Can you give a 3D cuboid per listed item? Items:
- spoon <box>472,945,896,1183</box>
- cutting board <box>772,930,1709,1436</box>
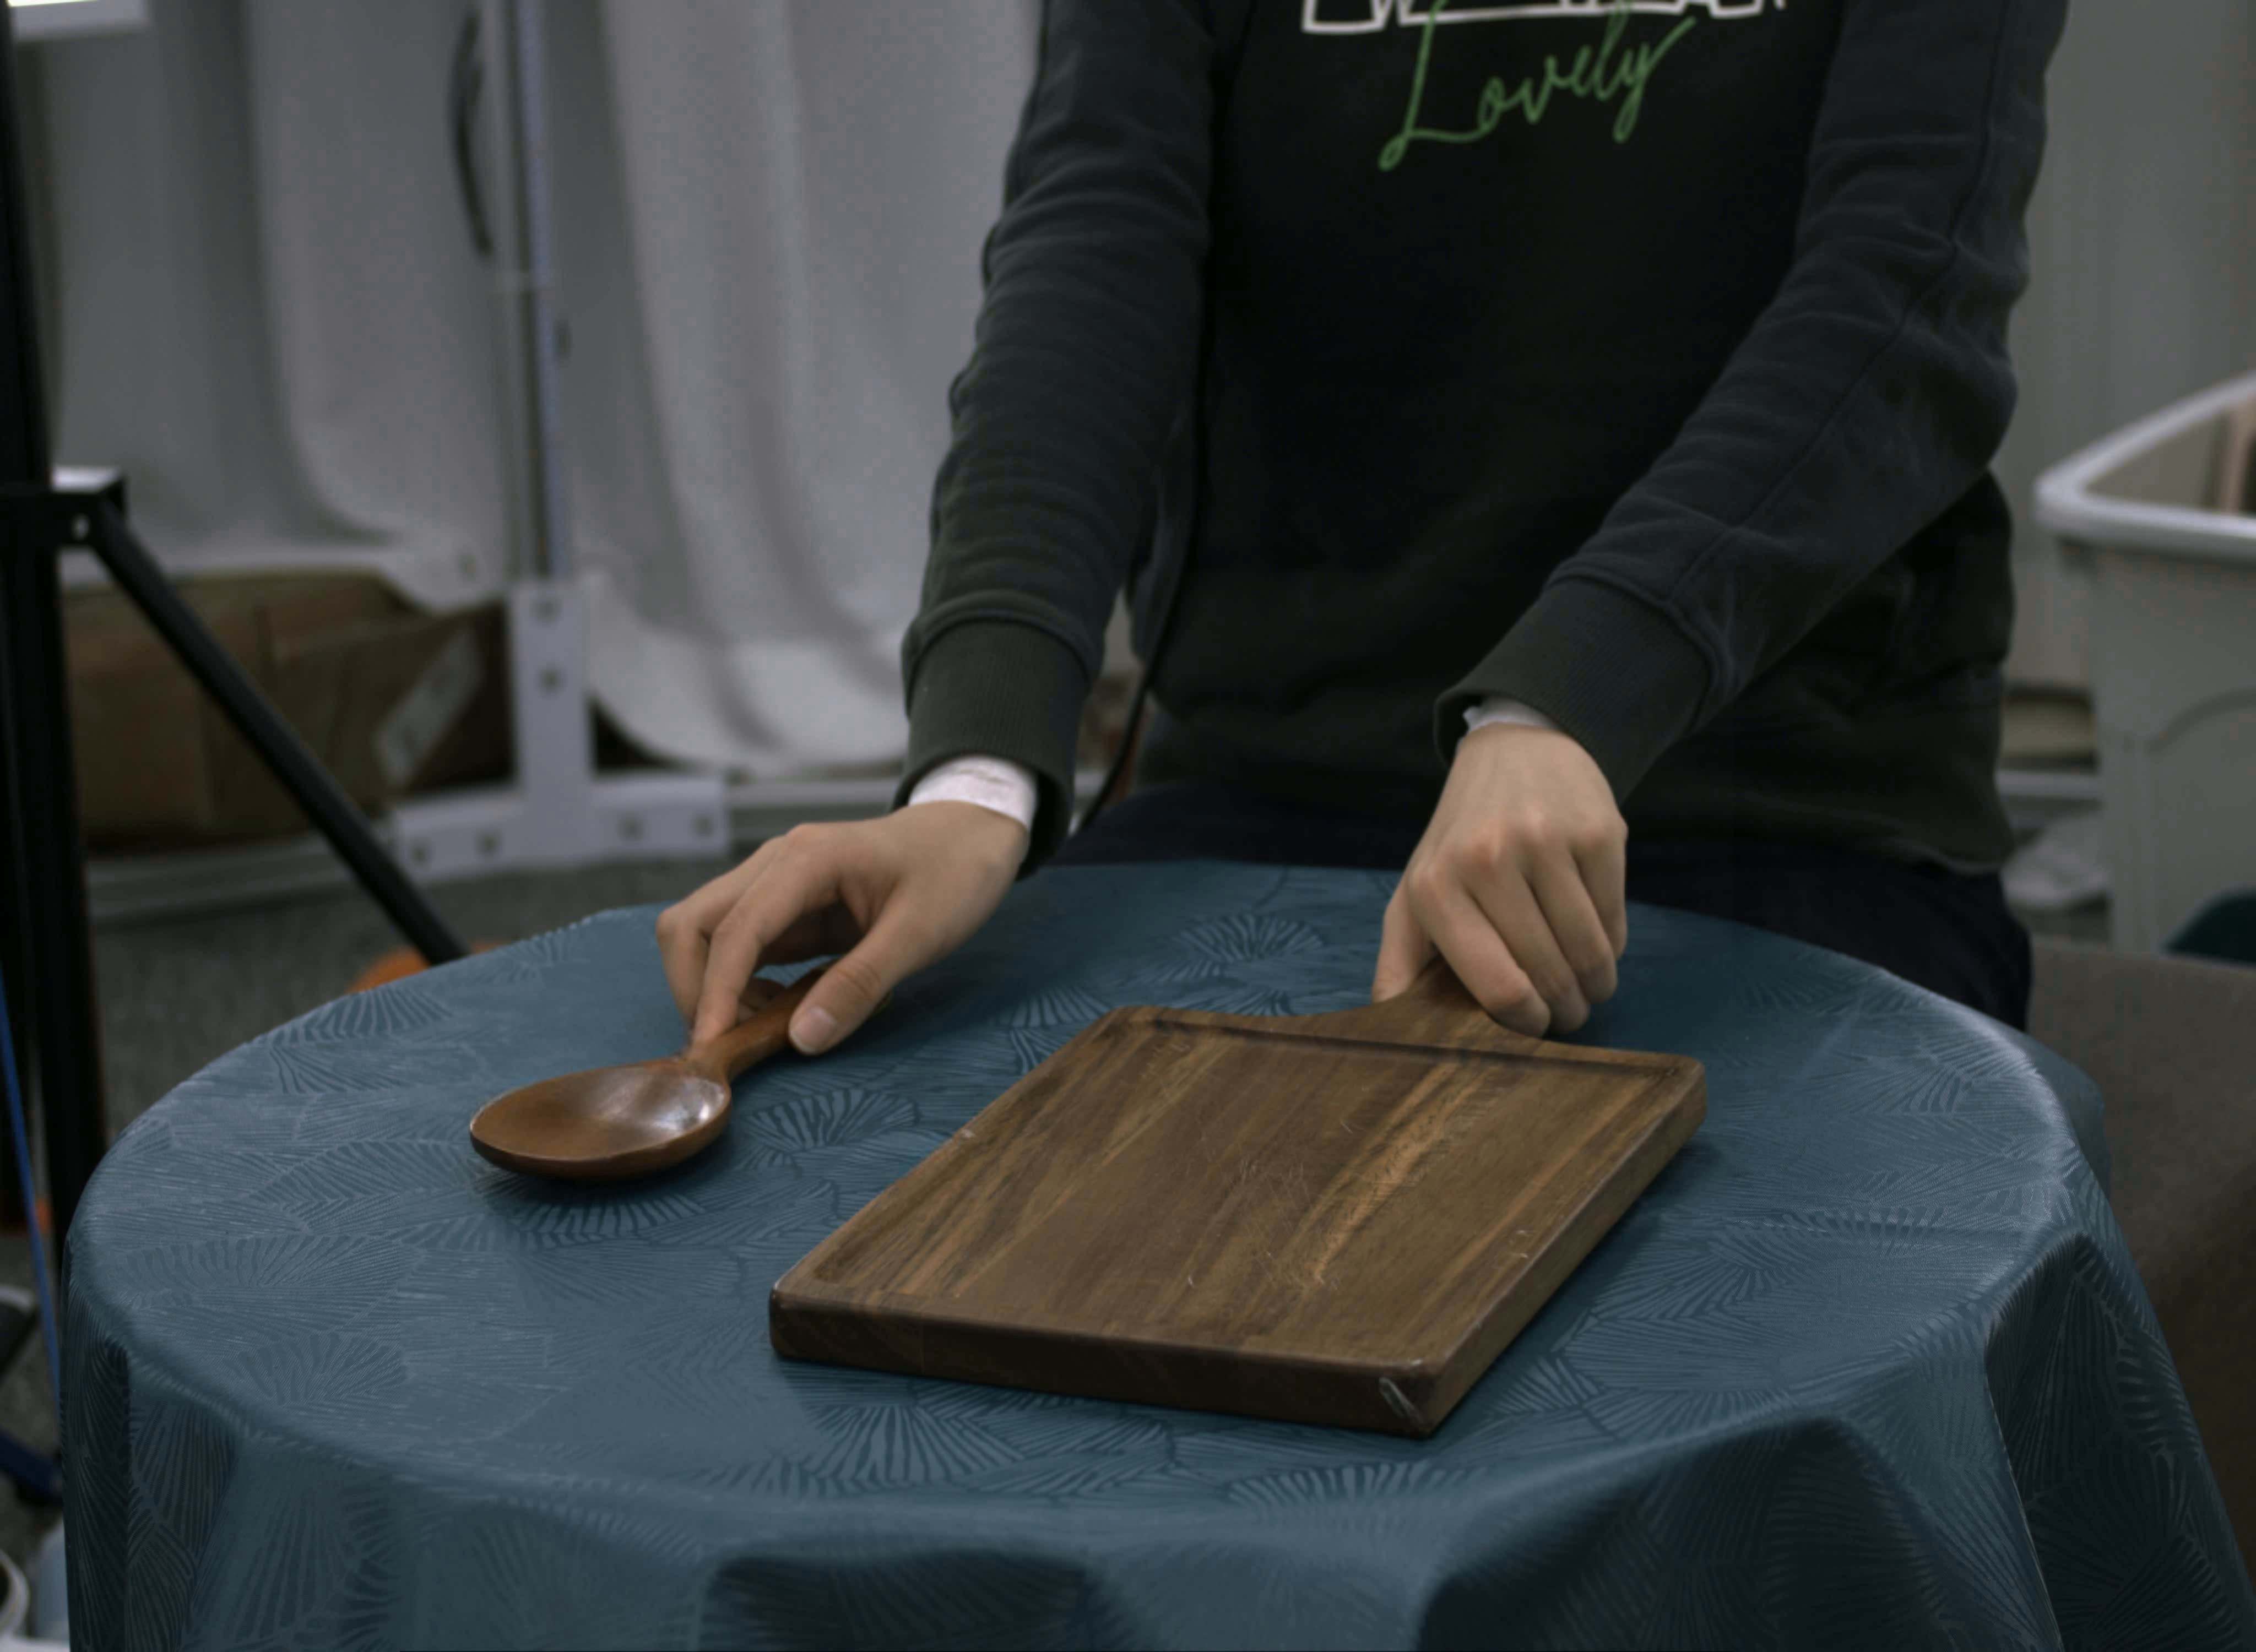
[{"bbox_3d":[-0.129,0.075,1.662,0.076,0.017,0.212,3,18,27],"label":"spoon"},{"bbox_3d":[0.057,0.094,1.549,0.204,0.023,0.347,3,18,24],"label":"cutting board"}]
